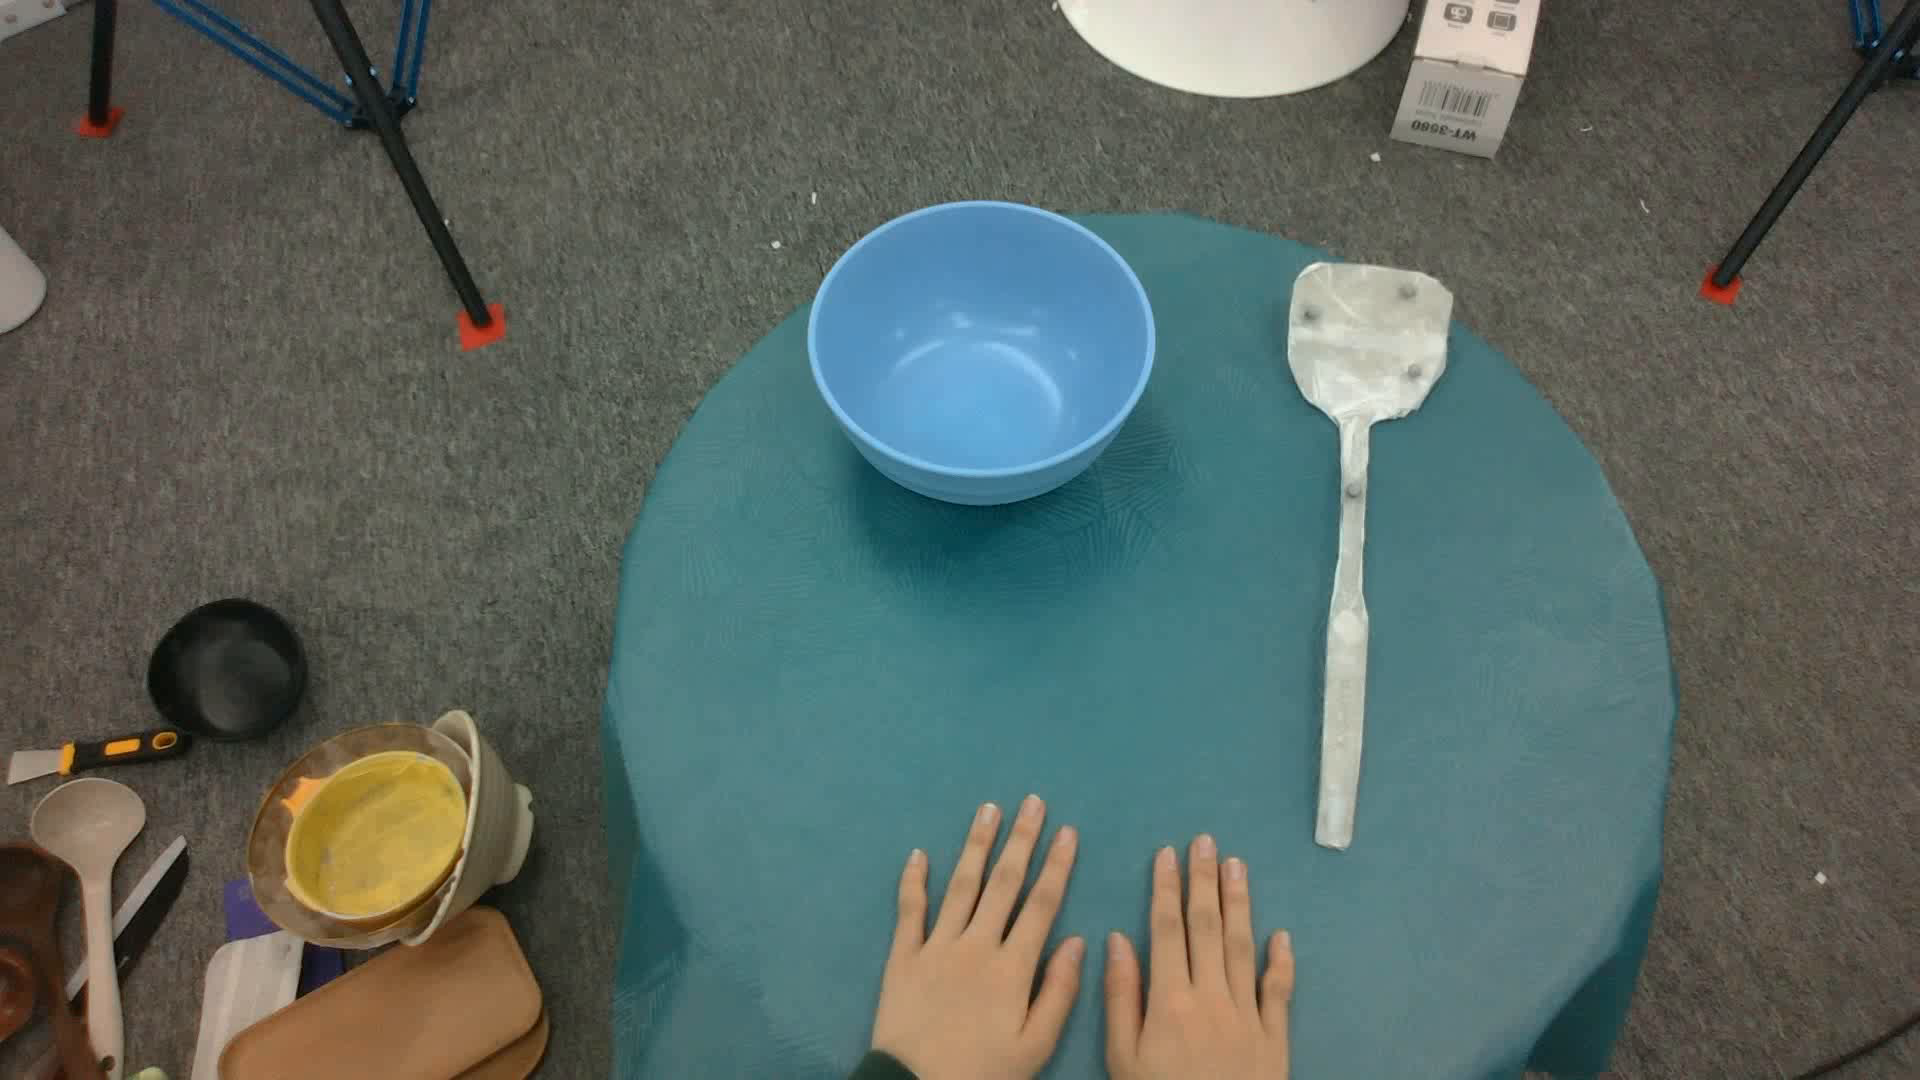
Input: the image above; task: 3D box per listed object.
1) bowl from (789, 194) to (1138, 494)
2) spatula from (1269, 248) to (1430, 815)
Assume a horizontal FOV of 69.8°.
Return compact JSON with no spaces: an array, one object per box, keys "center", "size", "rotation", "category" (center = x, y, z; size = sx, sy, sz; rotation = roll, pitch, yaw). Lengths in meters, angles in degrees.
[{"center":[0.002,-0.101,0.811],"size":[0.196,0.095,0.197],"rotation":[0,57,0],"category":"bowl"},{"center":[0.215,-0.017,0.799],"size":[0.098,0.044,0.366],"rotation":[11,60,4],"category":"spatula"}]
